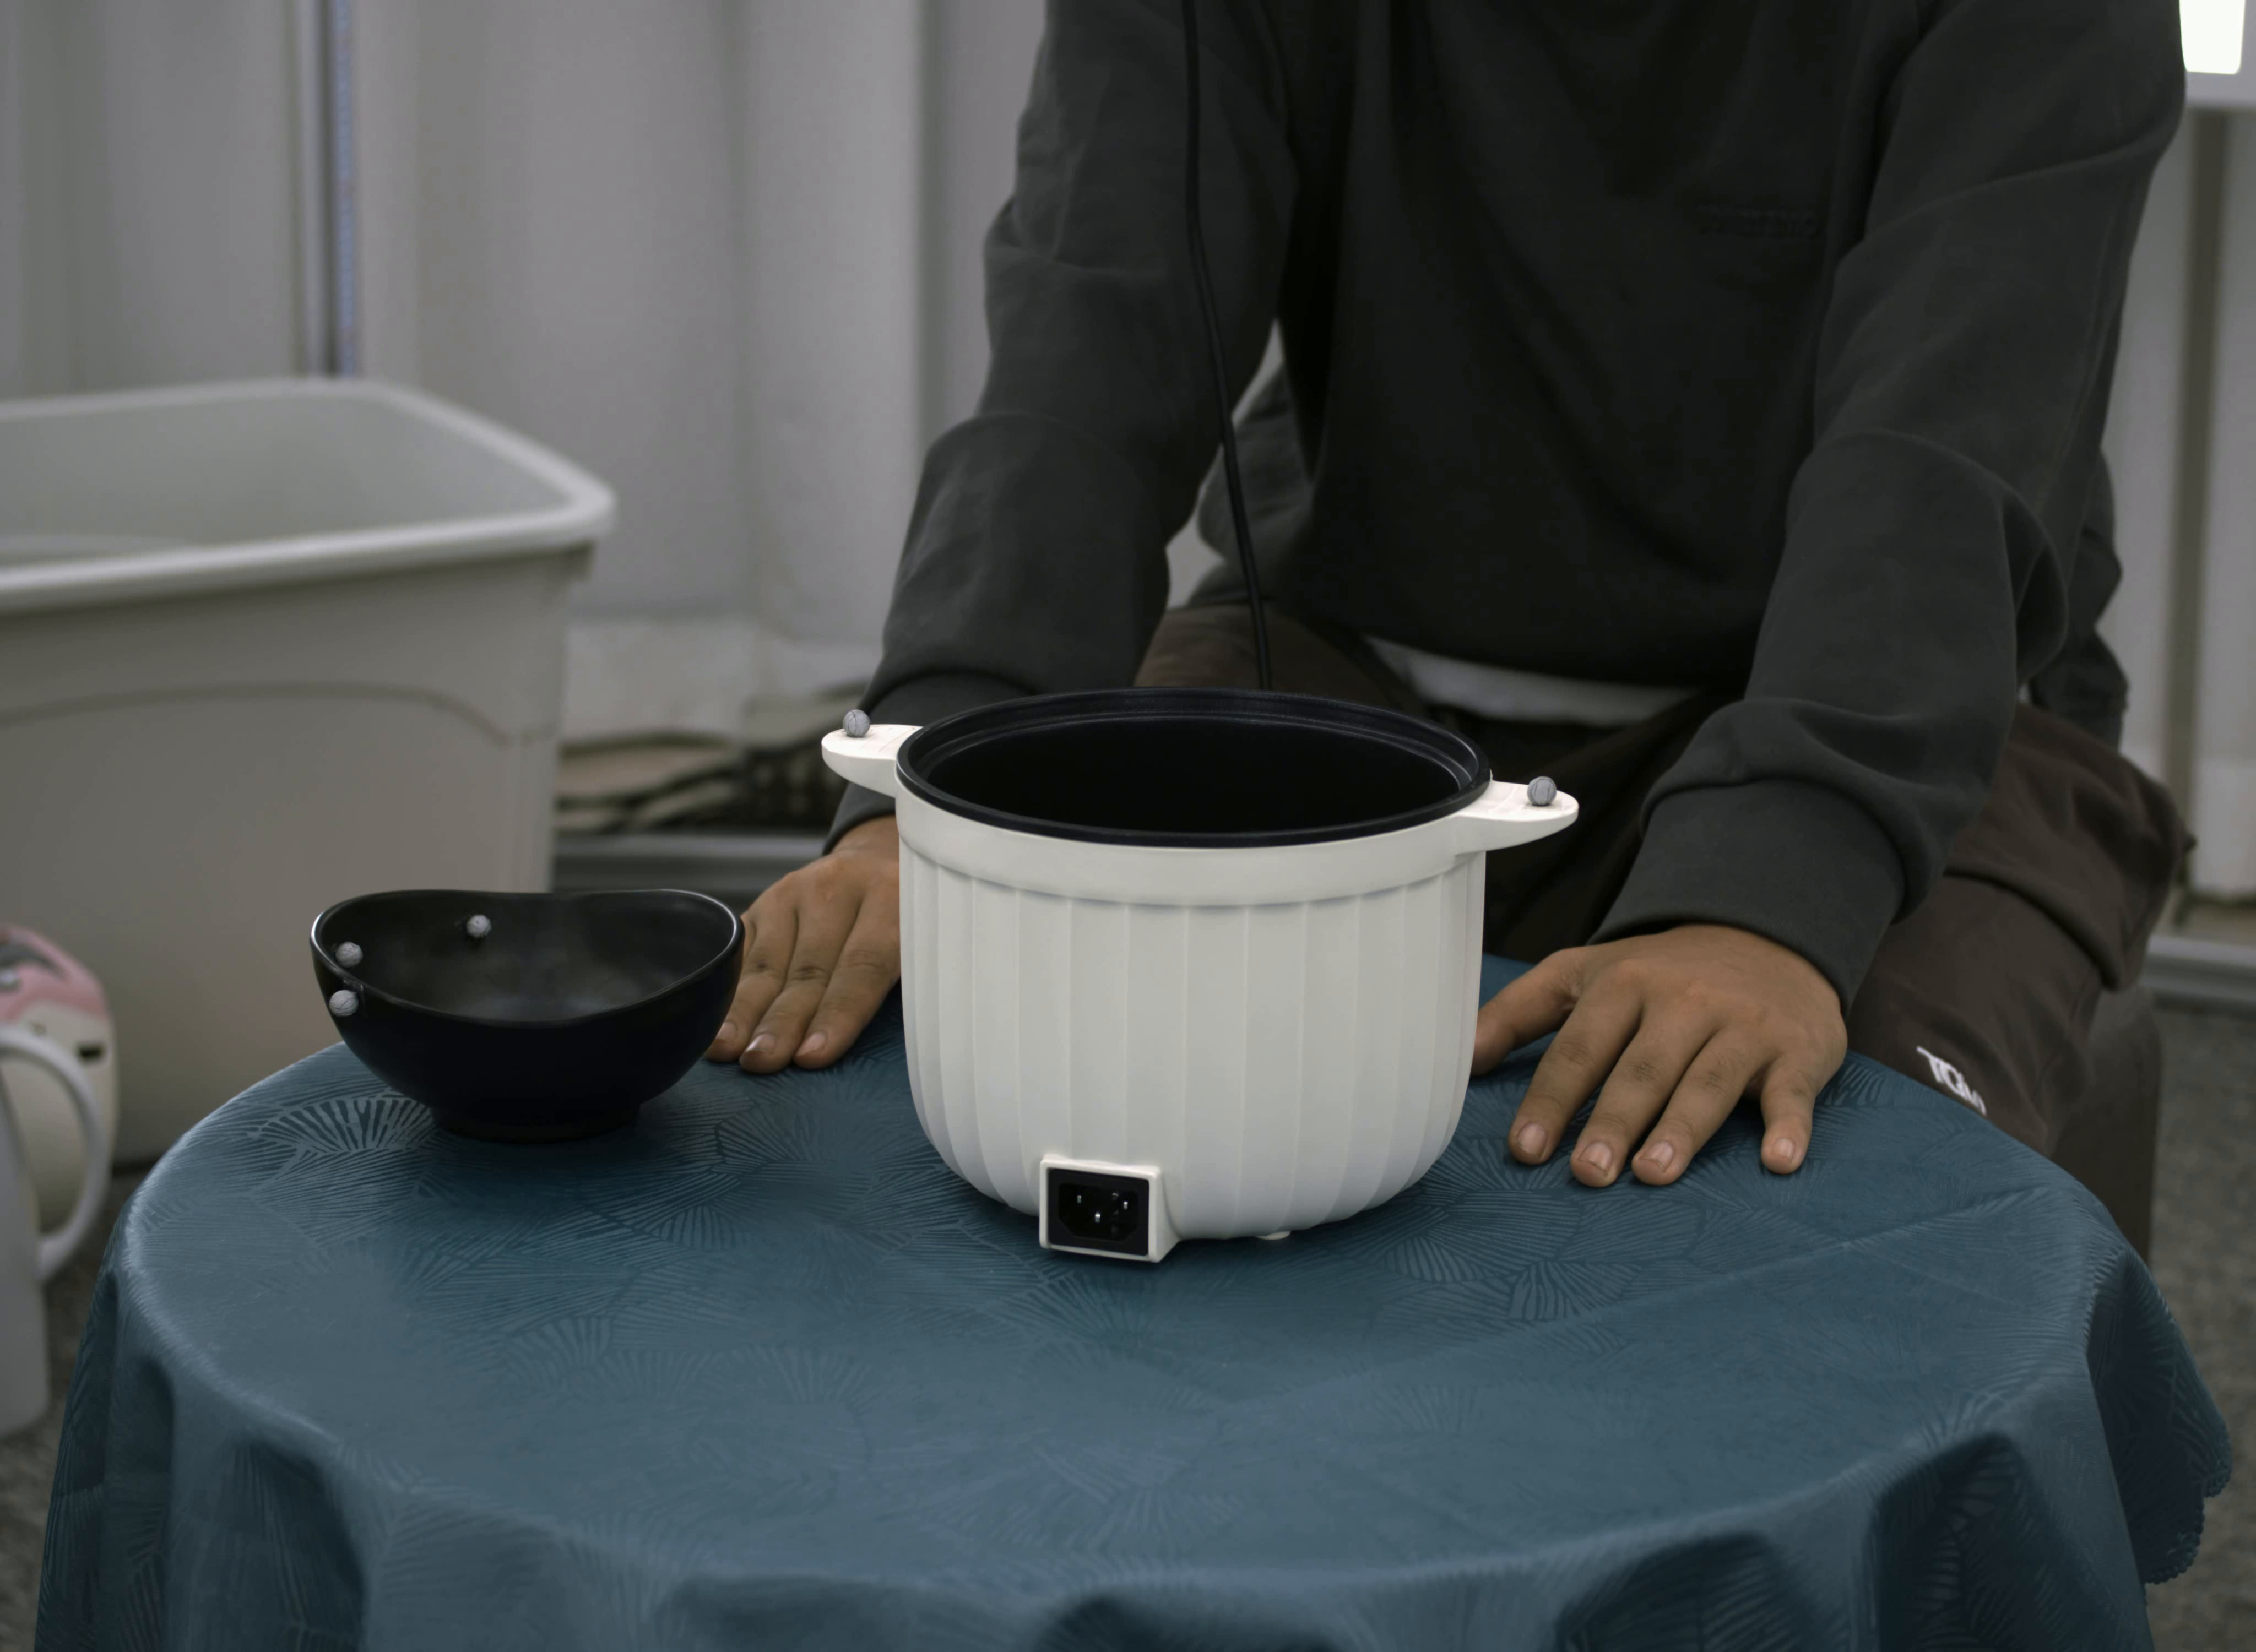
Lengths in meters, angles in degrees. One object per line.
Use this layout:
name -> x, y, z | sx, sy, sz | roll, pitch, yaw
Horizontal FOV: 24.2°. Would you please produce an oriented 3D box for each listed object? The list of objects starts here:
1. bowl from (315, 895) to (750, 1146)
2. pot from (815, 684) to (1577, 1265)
bowl -> -0.189, 0.062, 1.679 | 0.137, 0.067, 0.169 | 0, 14, -5
pot -> 0.019, 0.042, 1.624 | 0.238, 0.144, 0.190 | 7, 20, 16
